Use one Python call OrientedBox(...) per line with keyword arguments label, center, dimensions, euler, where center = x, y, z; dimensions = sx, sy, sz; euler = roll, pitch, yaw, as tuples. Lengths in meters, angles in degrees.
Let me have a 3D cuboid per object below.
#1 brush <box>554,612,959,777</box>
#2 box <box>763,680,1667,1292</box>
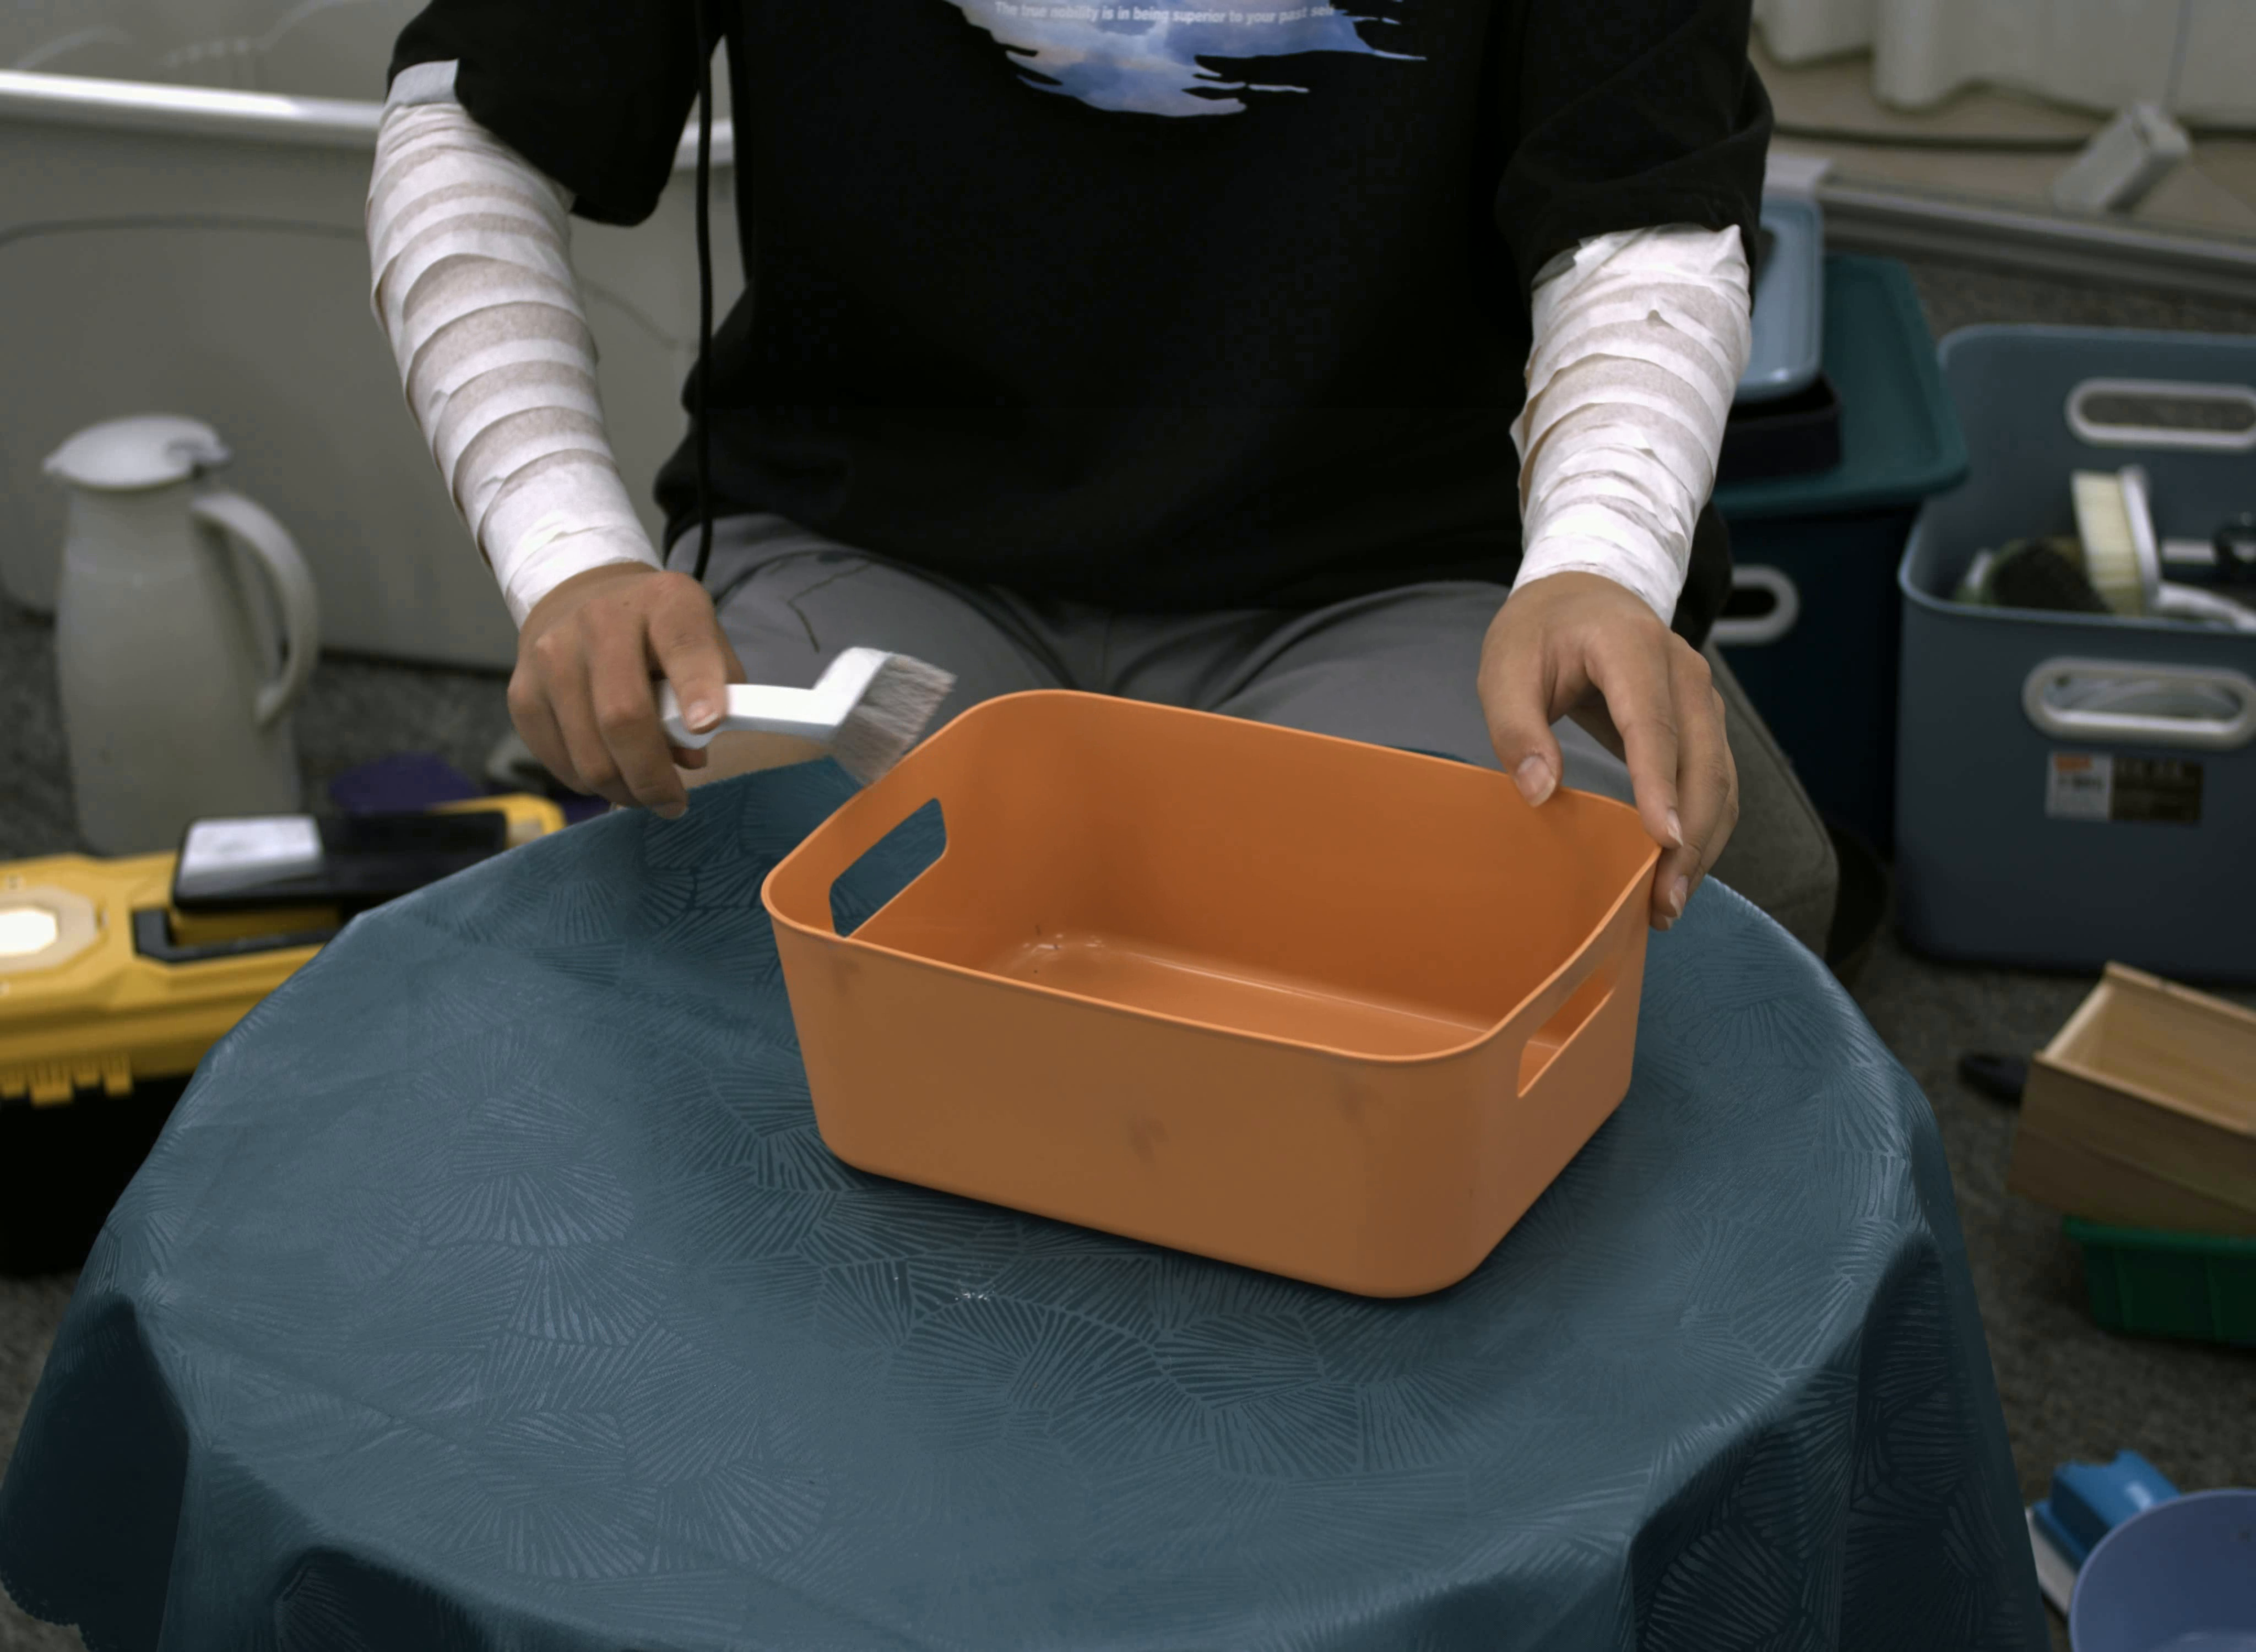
OrientedBox(label="brush", center=(-0.130, -0.033, 1.977), dimensions=(0.241, 0.050, 0.035), euler=(-14, 41, 57))
OrientedBox(label="box", center=(0.032, 0.052, 1.877), dimensions=(0.271, 0.101, 0.203), euler=(12, 31, 26))
